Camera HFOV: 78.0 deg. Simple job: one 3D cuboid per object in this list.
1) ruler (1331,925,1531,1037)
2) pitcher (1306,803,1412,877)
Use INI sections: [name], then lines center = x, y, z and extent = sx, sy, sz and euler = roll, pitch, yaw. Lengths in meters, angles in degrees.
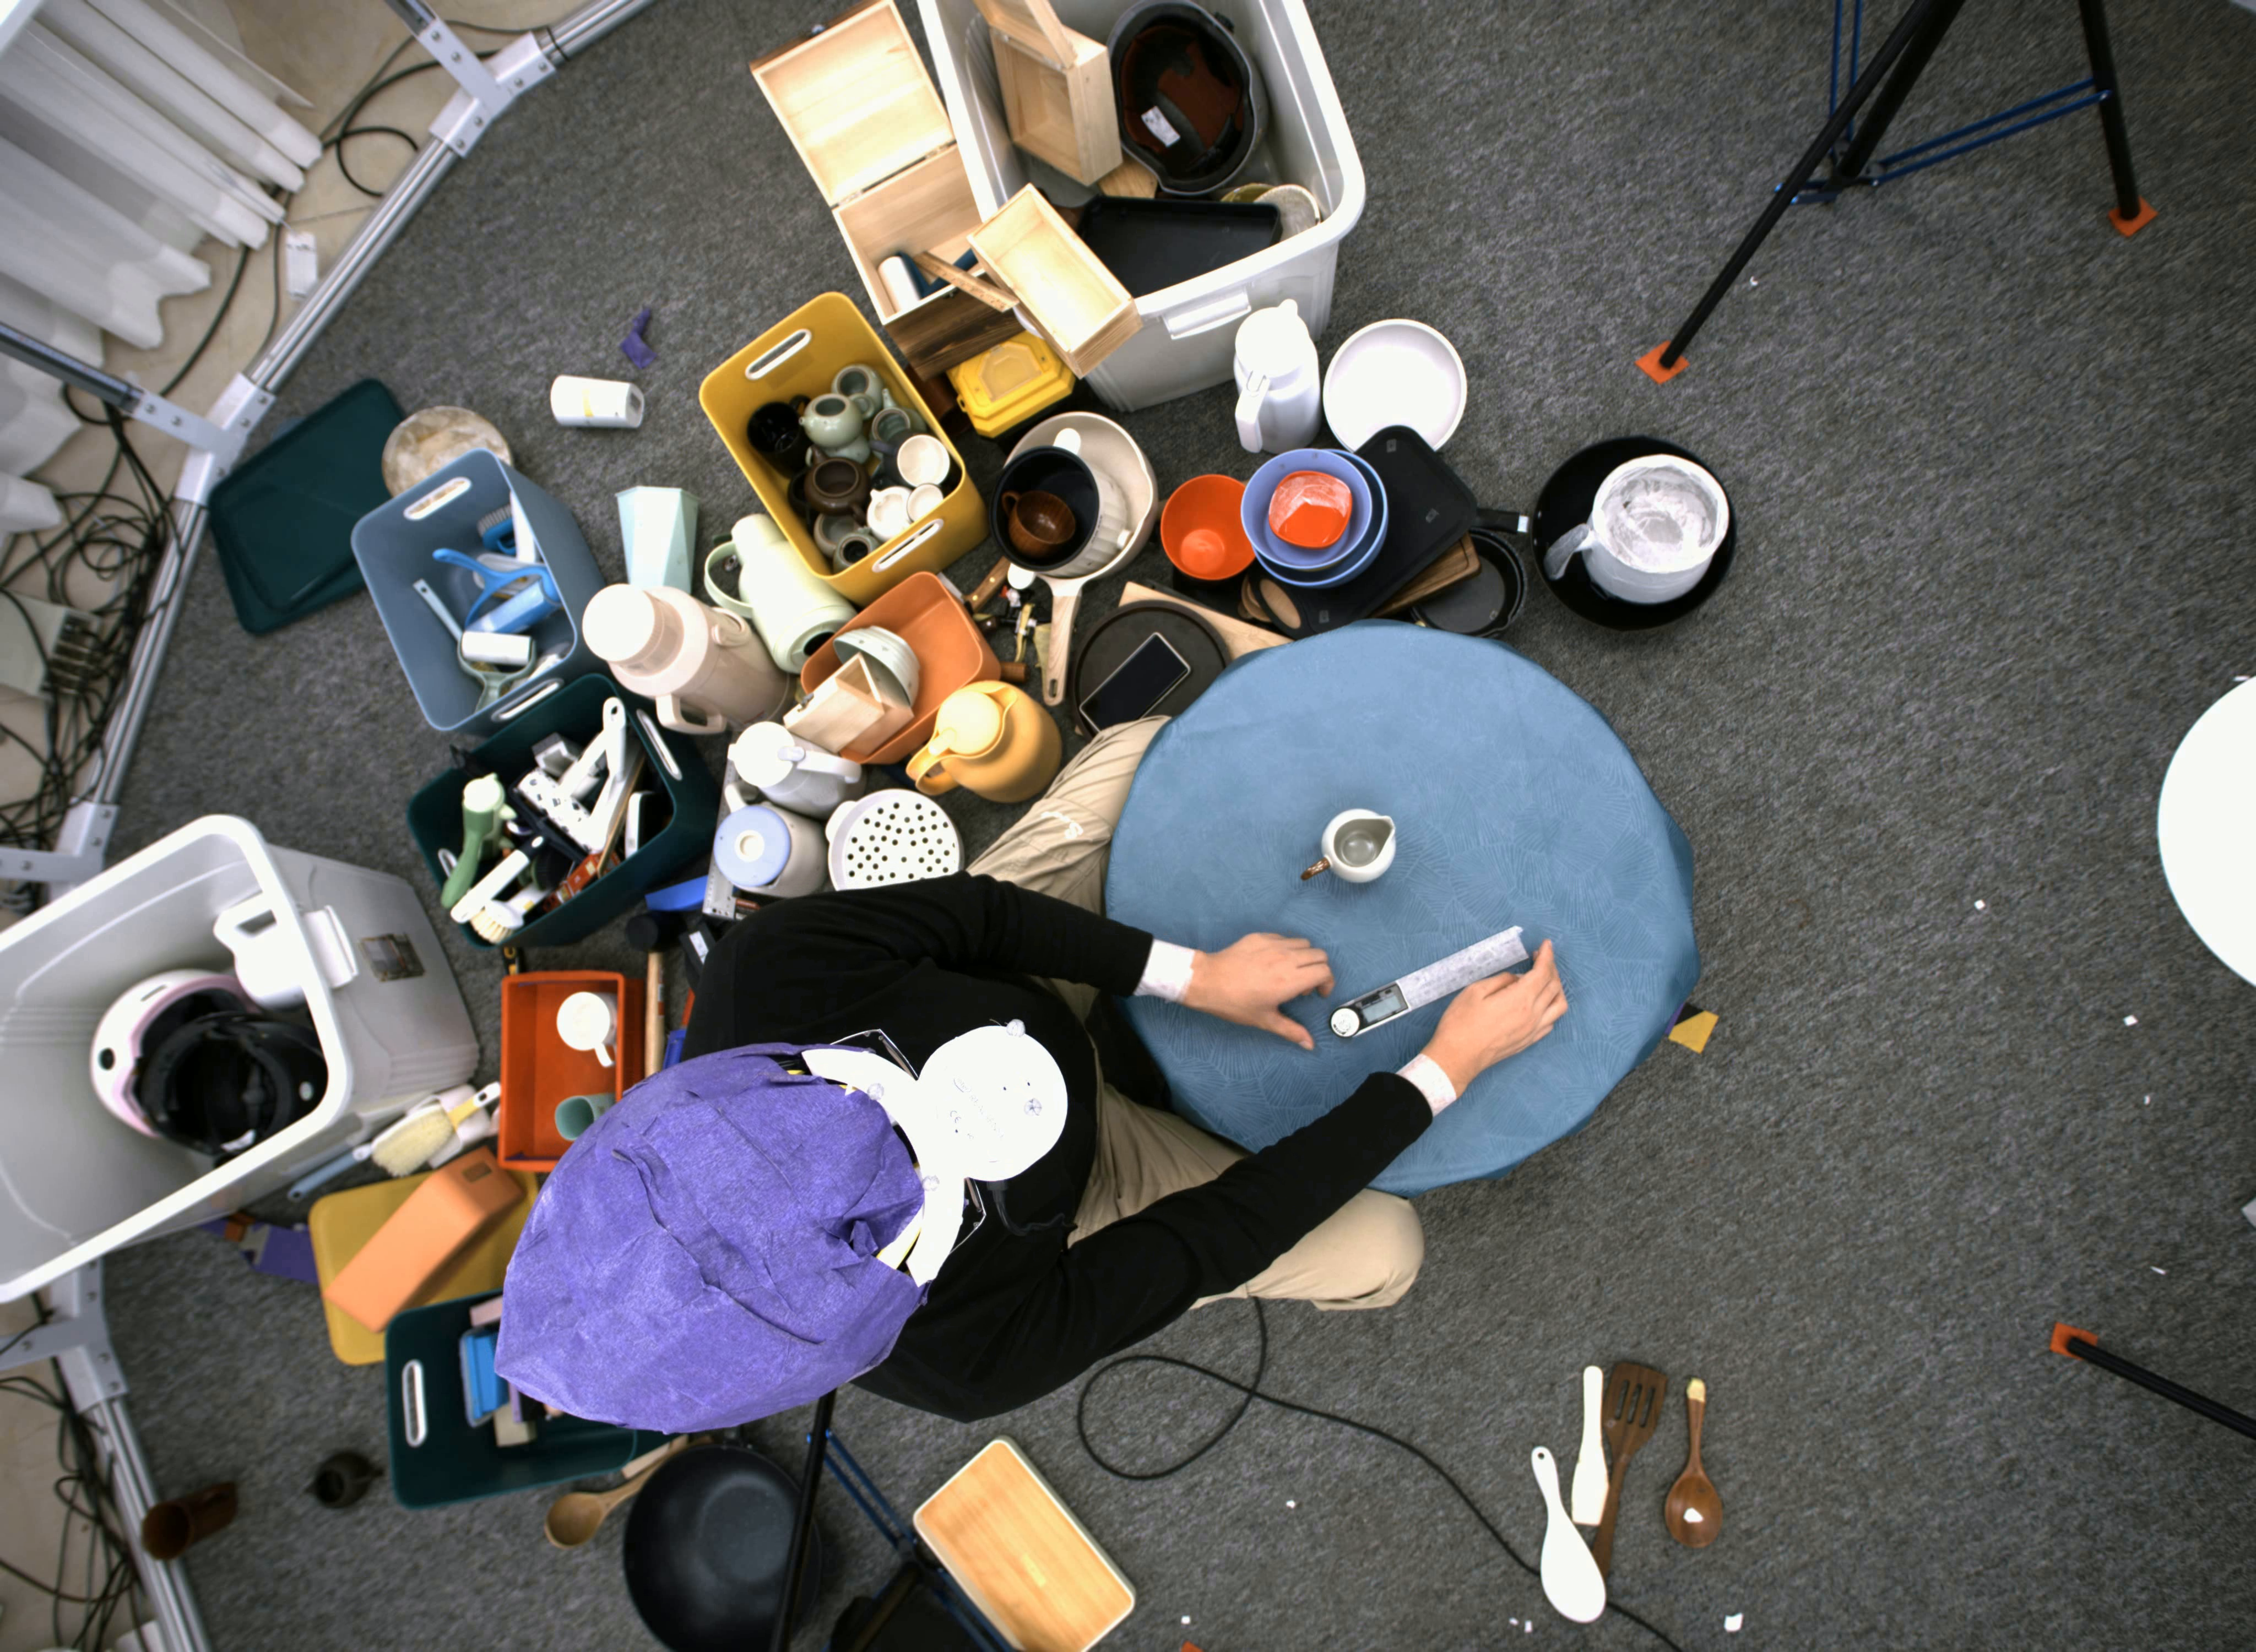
[ruler]
center = 0.312, 0.163, 1.435
extent = 0.219, 0.024, 0.038
euler = -26, 89, 10
[pitcher]
center = 0.239, 0.018, 1.425
extent = 0.120, 0.088, 0.075
euler = -27, 78, 6
